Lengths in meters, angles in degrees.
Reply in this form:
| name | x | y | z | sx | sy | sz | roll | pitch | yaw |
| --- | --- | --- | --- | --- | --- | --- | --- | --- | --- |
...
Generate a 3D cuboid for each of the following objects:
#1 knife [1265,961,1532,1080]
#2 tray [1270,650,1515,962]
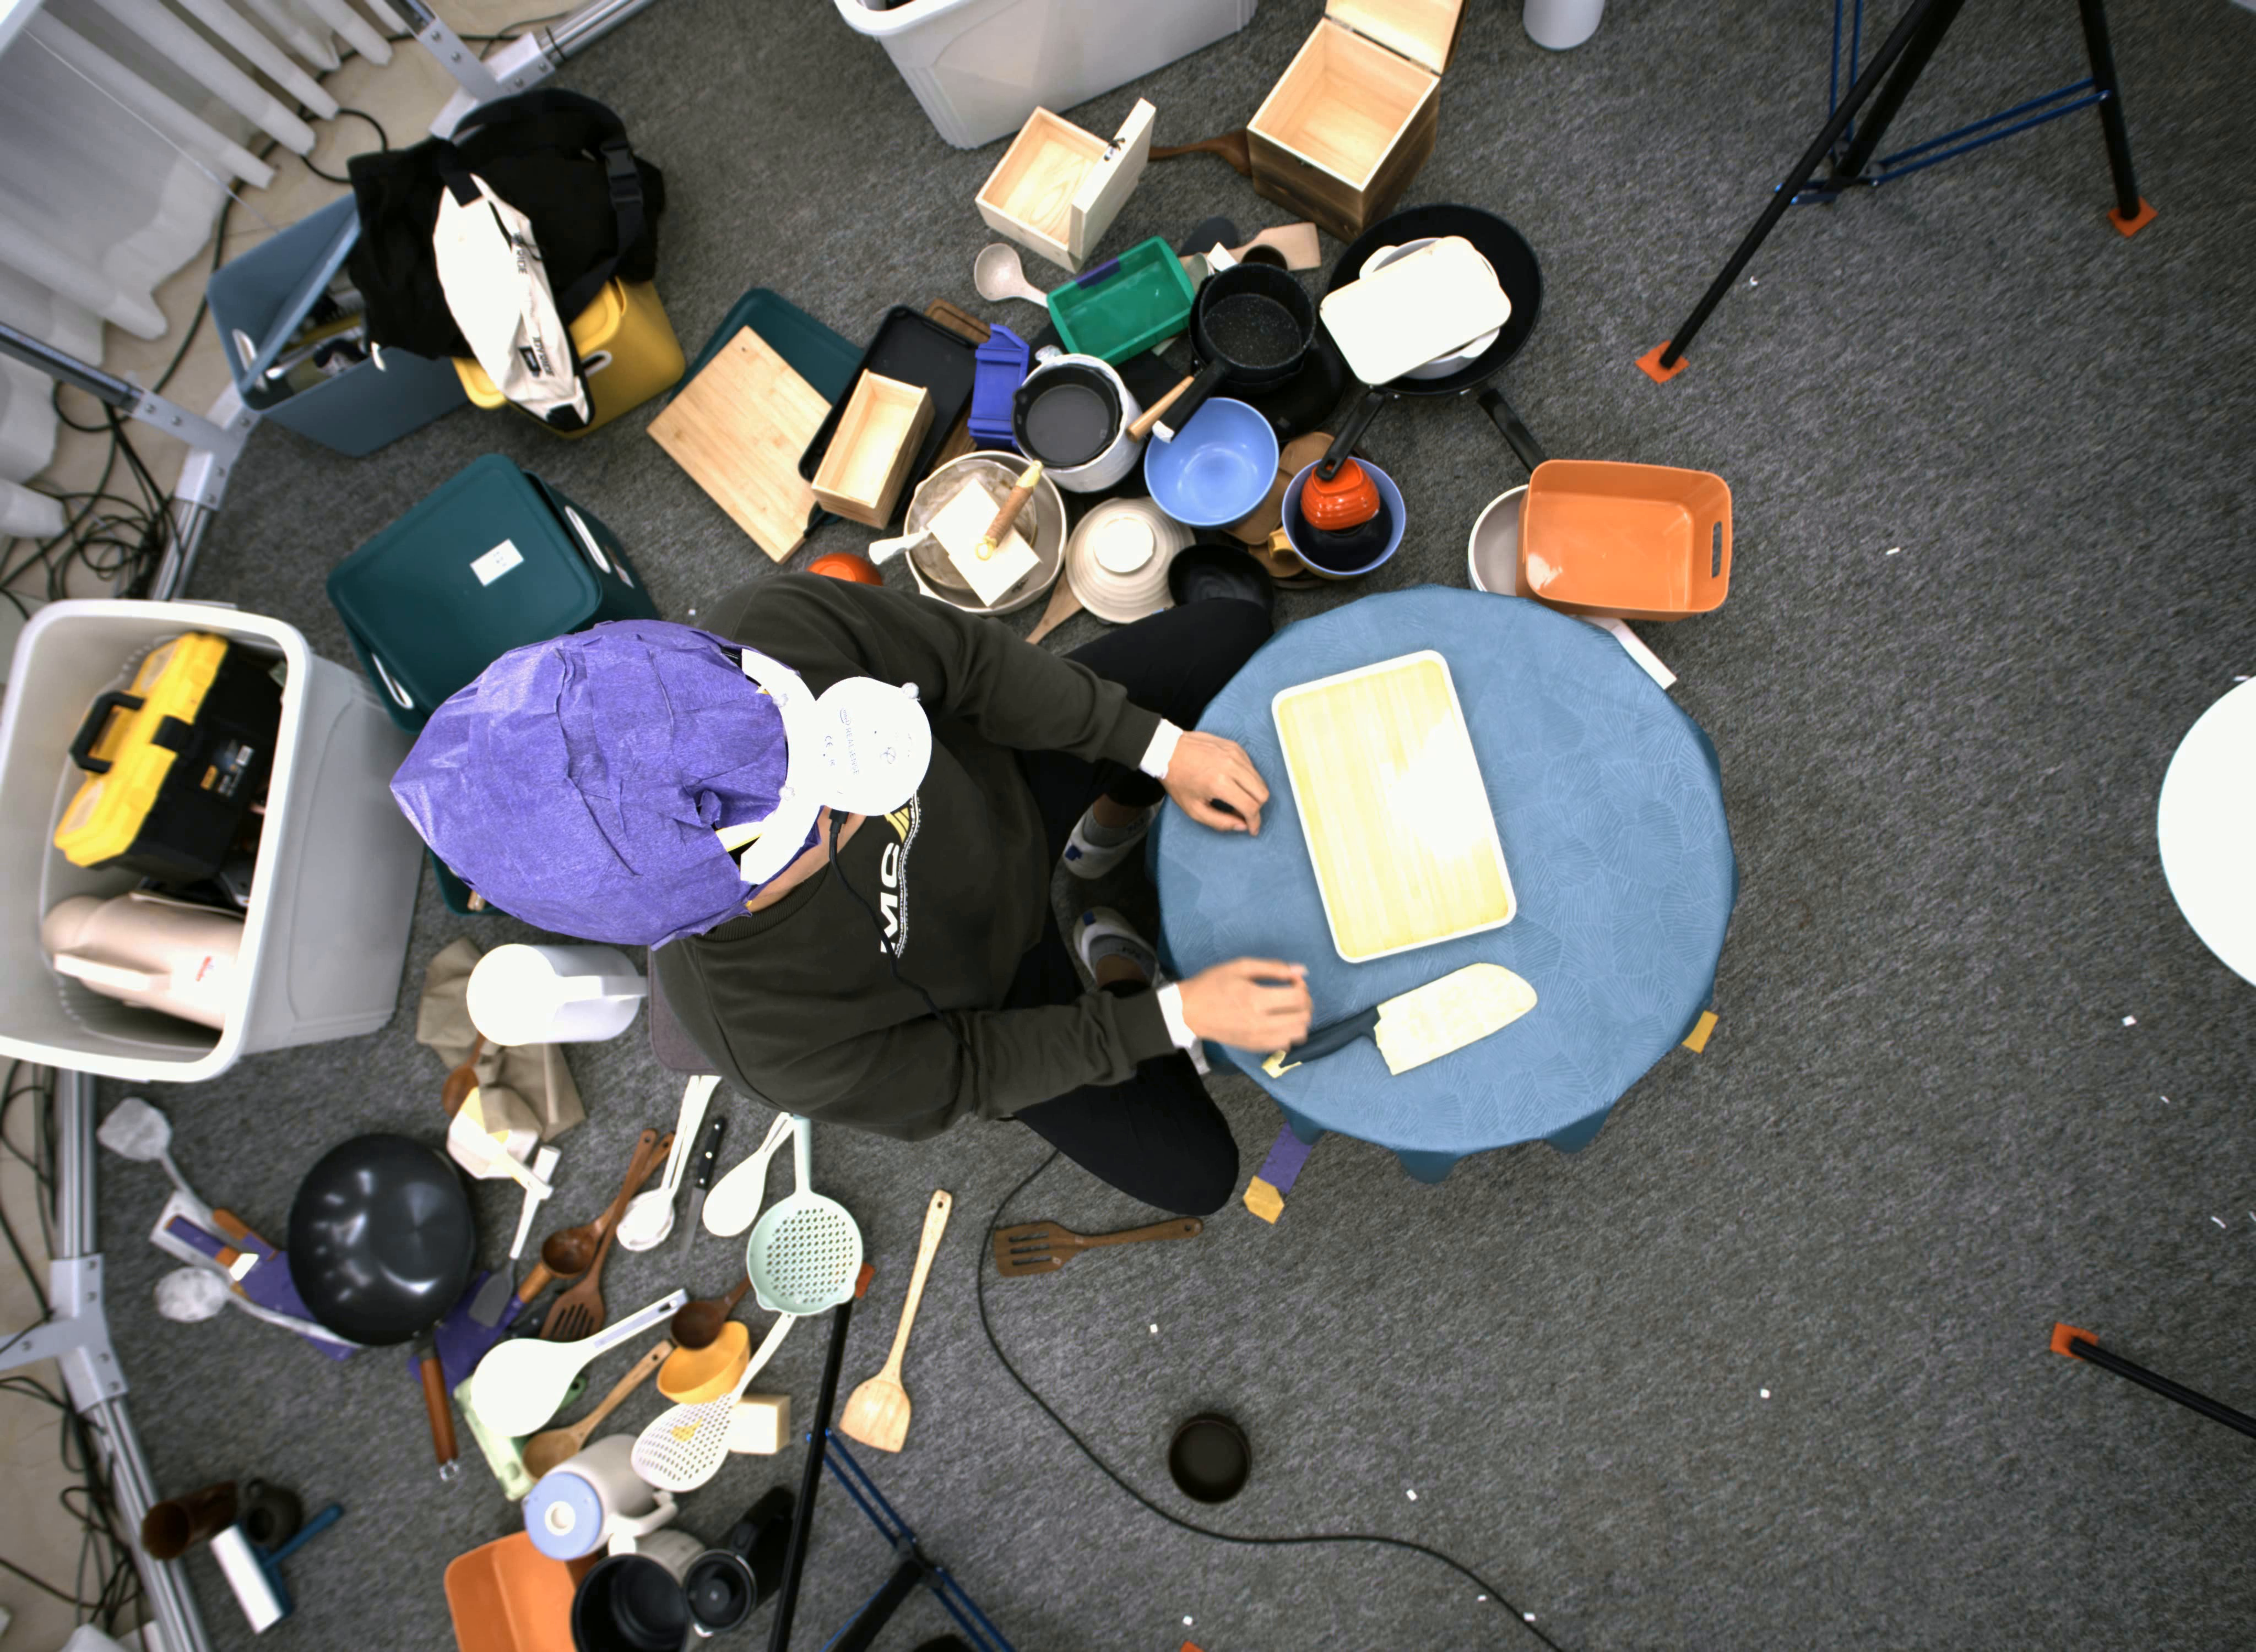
| name | x | y | z | sx | sy | sz | roll | pitch | yaw |
| --- | --- | --- | --- | --- | --- | --- | --- | --- | --- |
| knife | 0.283 | 0.213 | 1.442 | 0.291 | 0.027 | 0.080 | -22 | 82 | 8 |
| tray | 0.276 | -0.022 | 1.451 | 0.193 | 0.027 | 0.298 | -15 | 84 | 11 |
